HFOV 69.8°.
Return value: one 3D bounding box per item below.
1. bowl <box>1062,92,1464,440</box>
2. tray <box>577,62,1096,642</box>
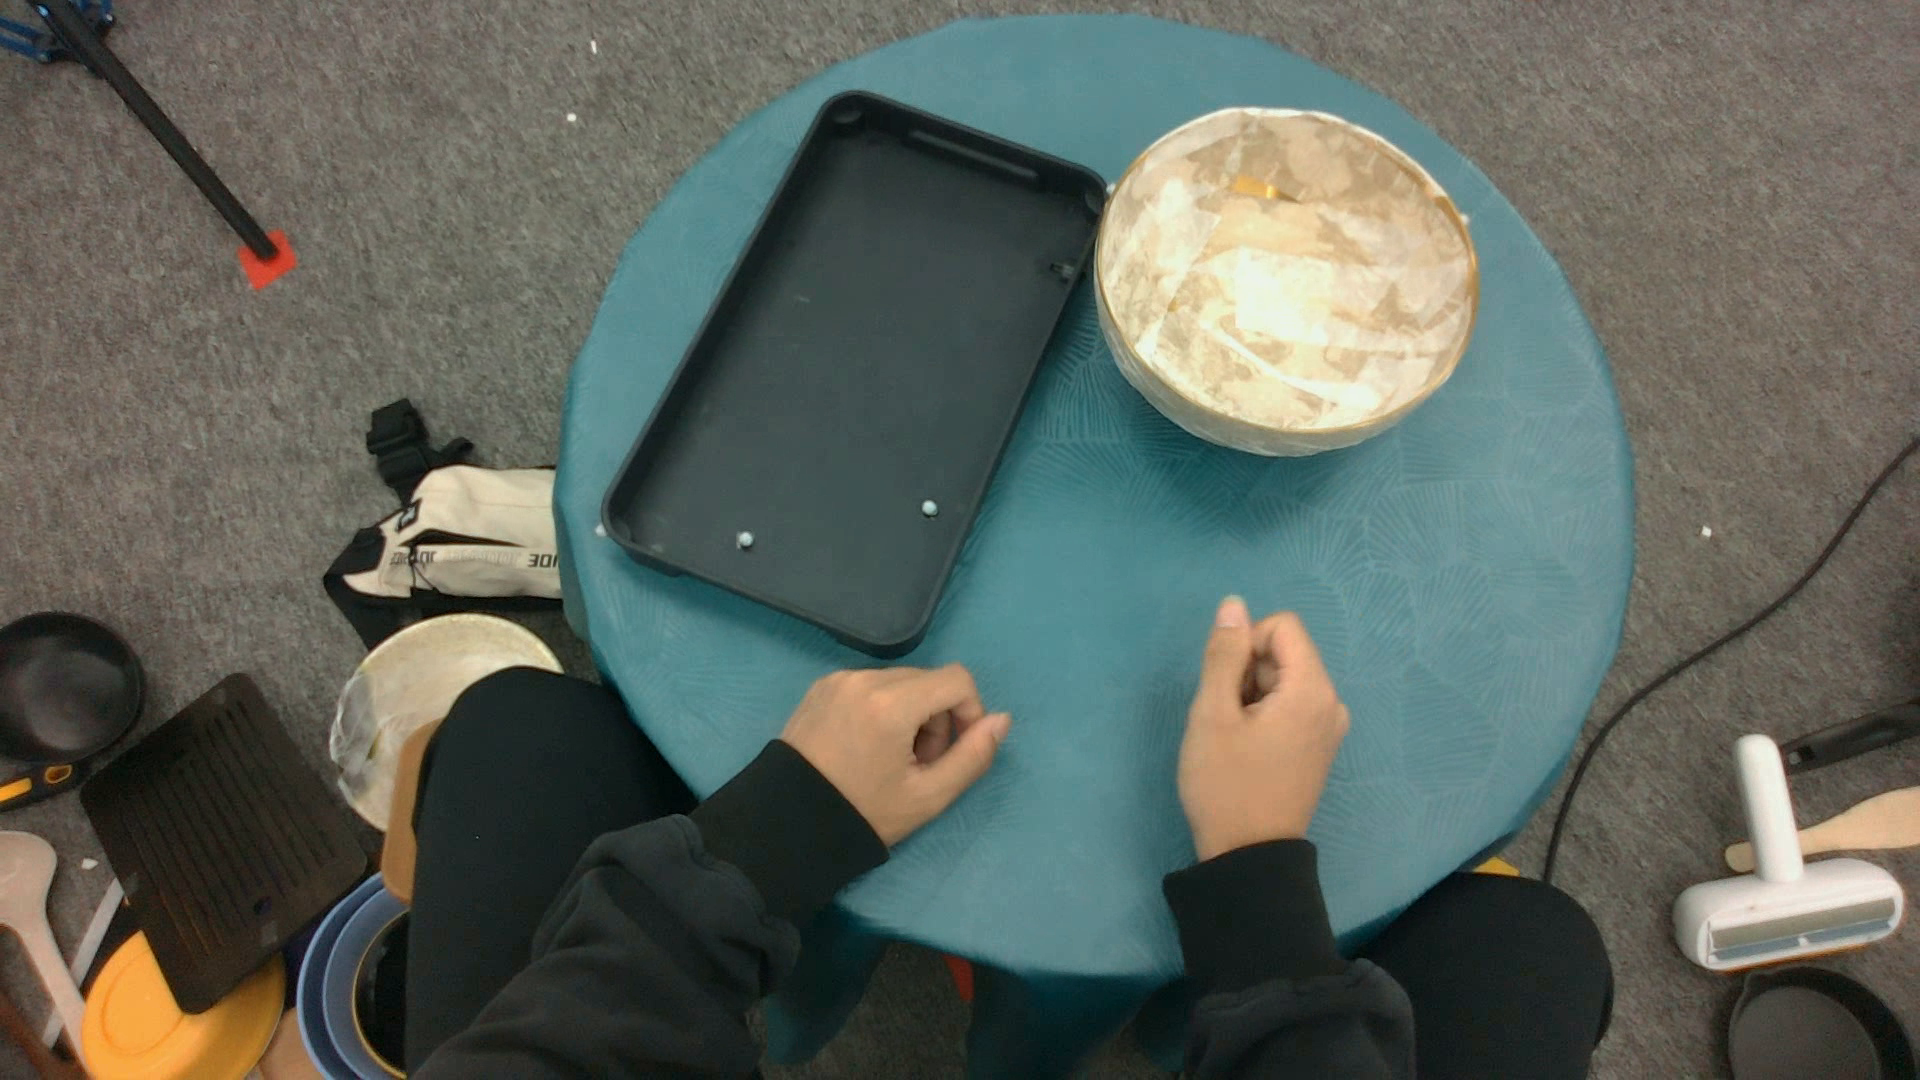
[{"bbox_3d":[0.155,-0.134,0.755,0.215,0.094,0.215,2,67,-4],"label":"bowl"},{"bbox_3d":[-0.061,-0.113,0.767,0.184,0.037,0.319,22,70,5],"label":"tray"}]
